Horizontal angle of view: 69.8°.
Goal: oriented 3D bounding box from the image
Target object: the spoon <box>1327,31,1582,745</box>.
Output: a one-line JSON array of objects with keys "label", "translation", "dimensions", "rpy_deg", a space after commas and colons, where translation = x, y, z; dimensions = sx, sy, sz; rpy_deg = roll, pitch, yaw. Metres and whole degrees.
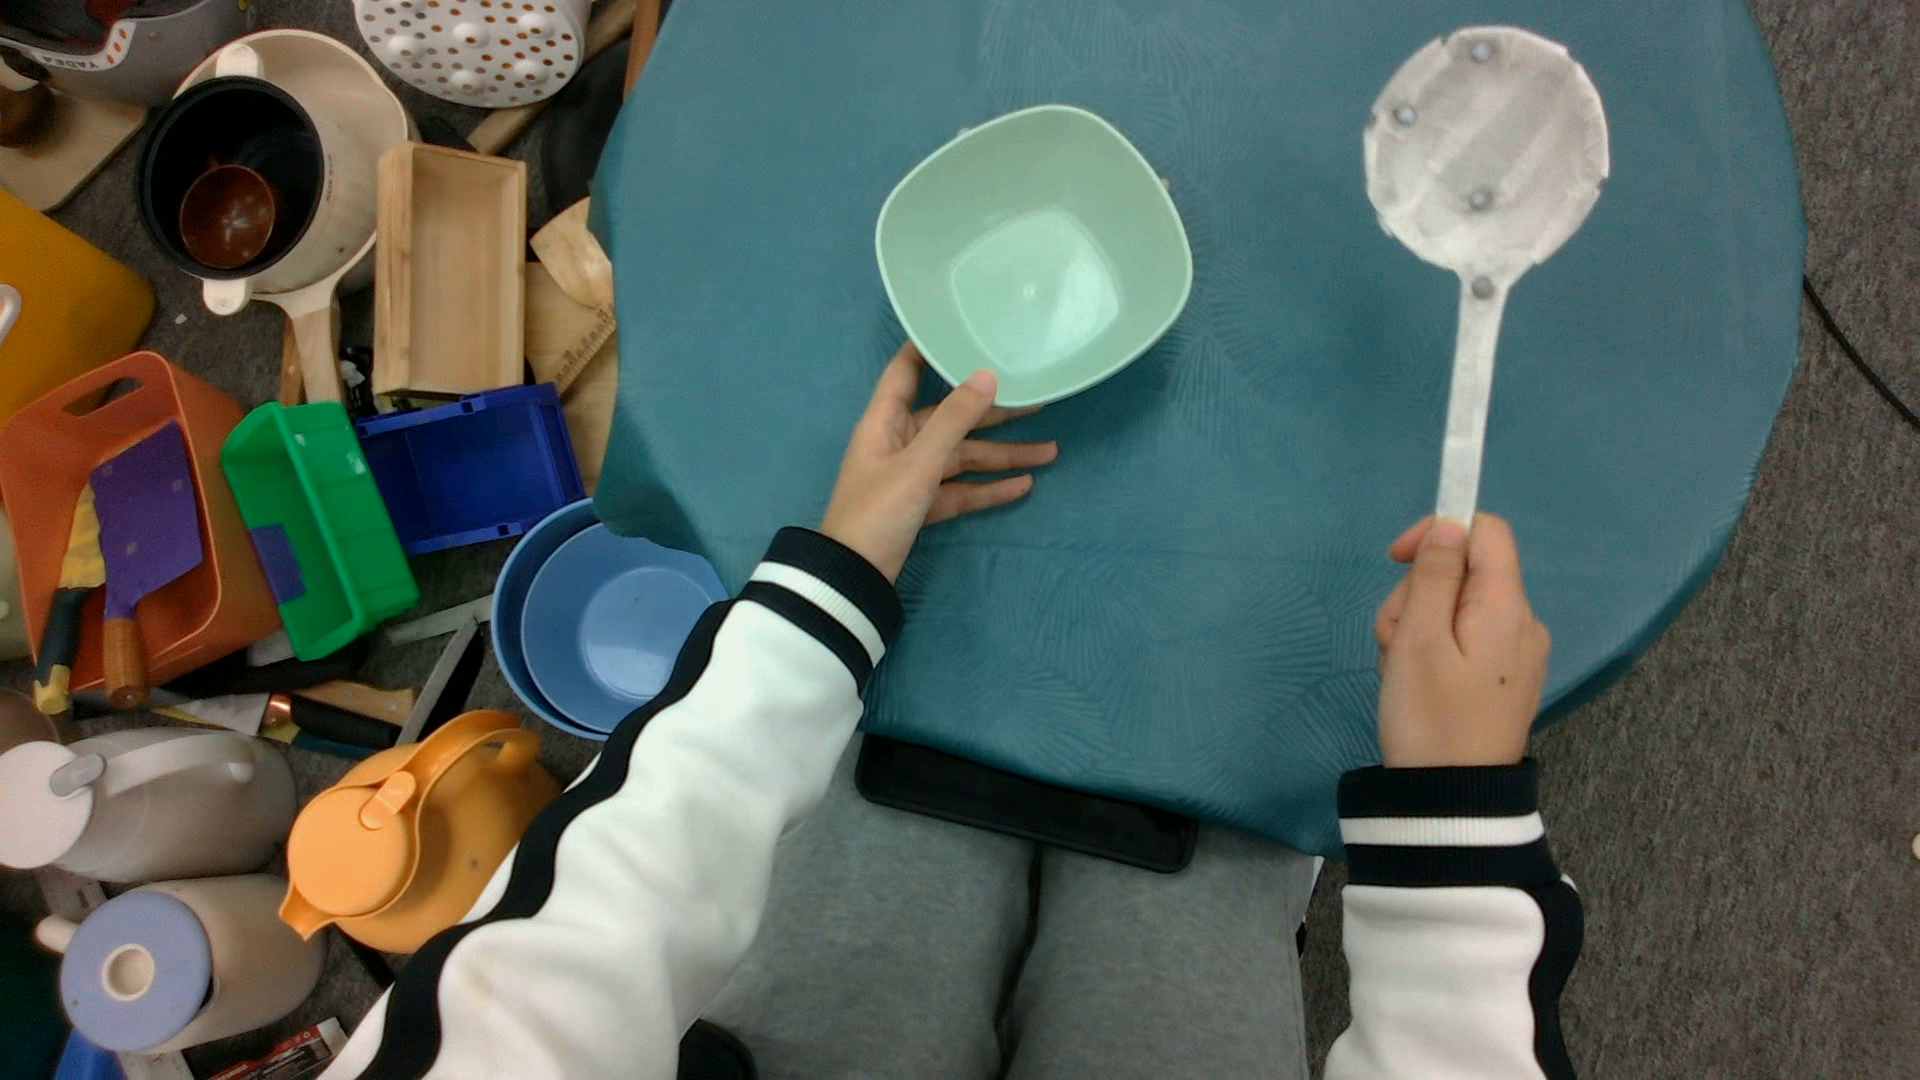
[{"label": "spoon", "translation": [0.176, -0.058, 0.546], "dimensions": [0.100, 0.059, 0.277], "rpy_deg": [9, 84, 41]}]

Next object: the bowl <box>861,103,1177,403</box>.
[{"label": "bowl", "translation": [0.029, -0.132, 0.673], "dimensions": [0.151, 0.058, 0.151], "rpy_deg": [-1, 79, 4]}]
